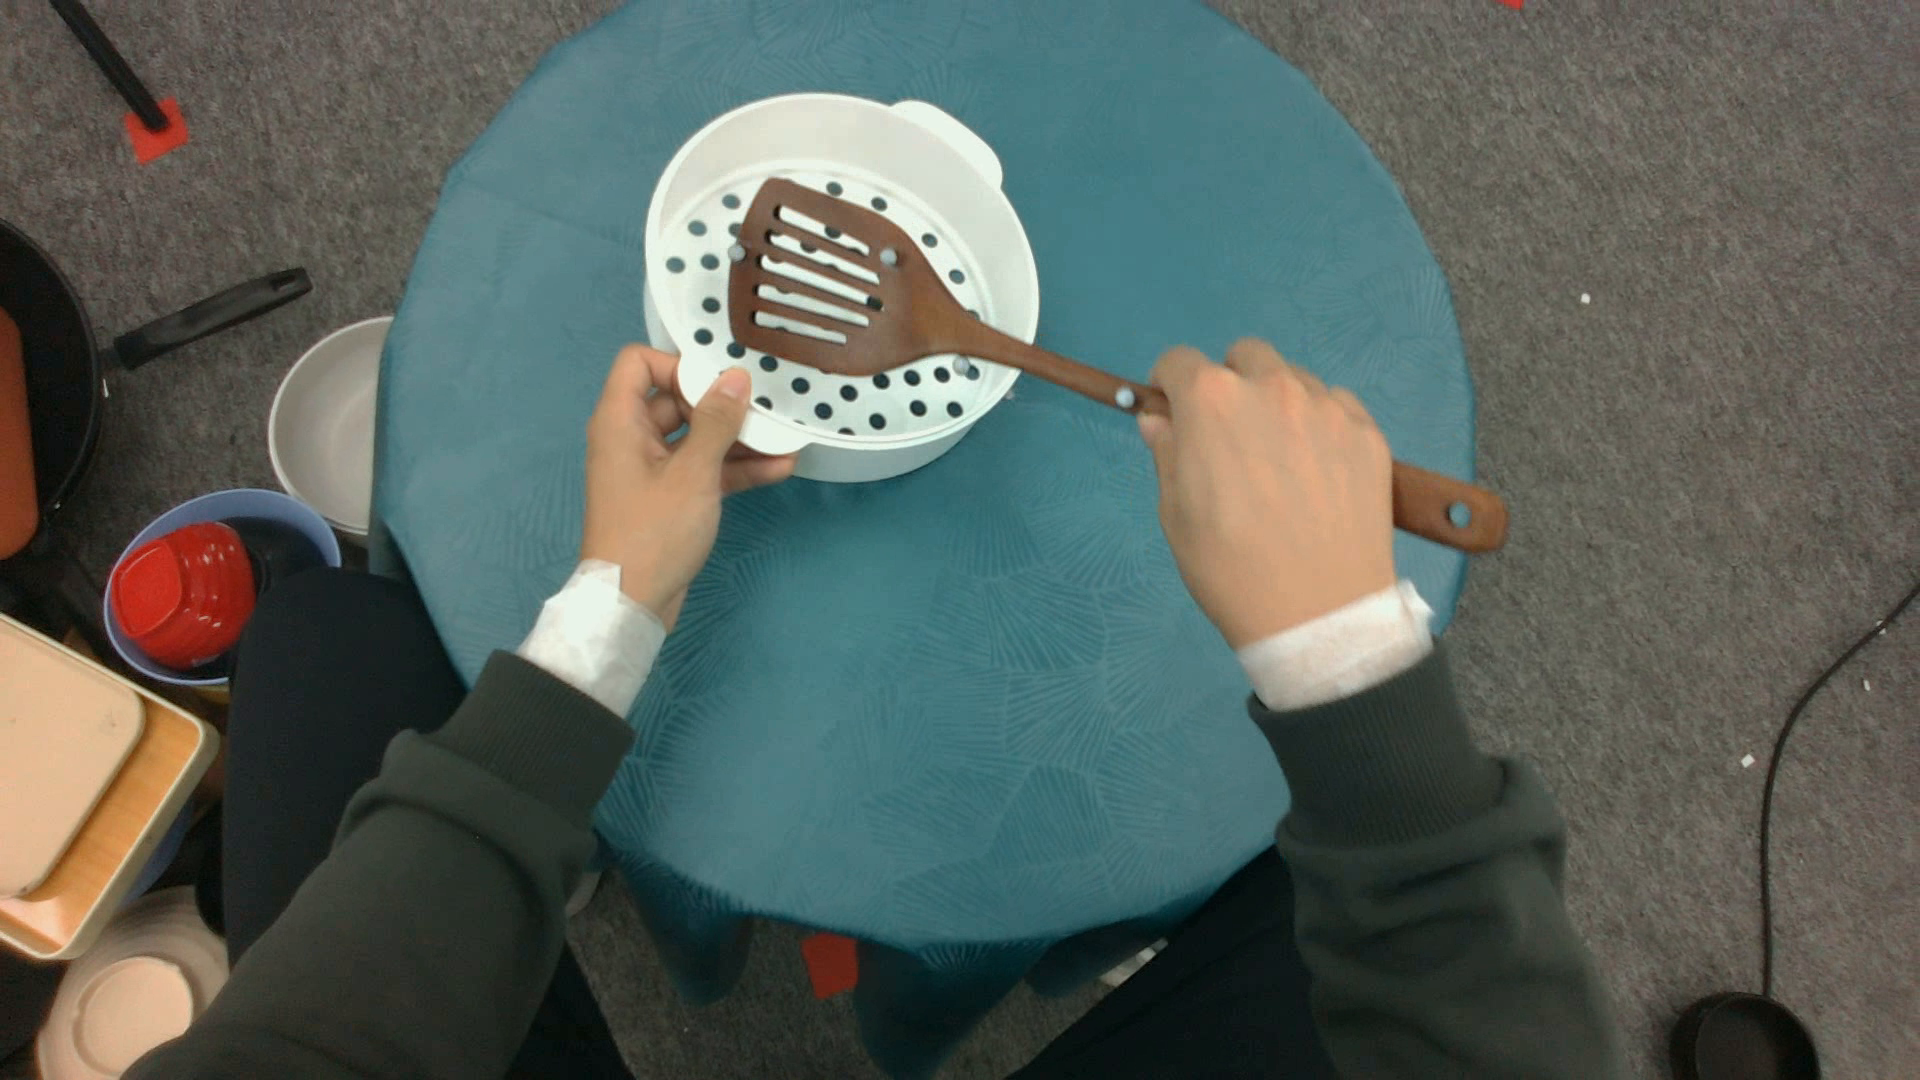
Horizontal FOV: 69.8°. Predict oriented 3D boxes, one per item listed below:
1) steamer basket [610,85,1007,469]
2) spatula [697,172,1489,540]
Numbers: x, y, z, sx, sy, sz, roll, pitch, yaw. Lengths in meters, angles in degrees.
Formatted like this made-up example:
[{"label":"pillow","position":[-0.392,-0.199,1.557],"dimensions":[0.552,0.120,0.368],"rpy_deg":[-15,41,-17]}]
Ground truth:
[{"label":"steamer basket","position":[-0.080,-0.135,0.721],"dimensions":[0.202,0.069,0.231],"rpy_deg":[32,66,-3]},{"label":"spatula","position":[0.039,-0.077,0.601],"dimensions":[0.385,0.024,0.086],"rpy_deg":[23,98,27]}]
